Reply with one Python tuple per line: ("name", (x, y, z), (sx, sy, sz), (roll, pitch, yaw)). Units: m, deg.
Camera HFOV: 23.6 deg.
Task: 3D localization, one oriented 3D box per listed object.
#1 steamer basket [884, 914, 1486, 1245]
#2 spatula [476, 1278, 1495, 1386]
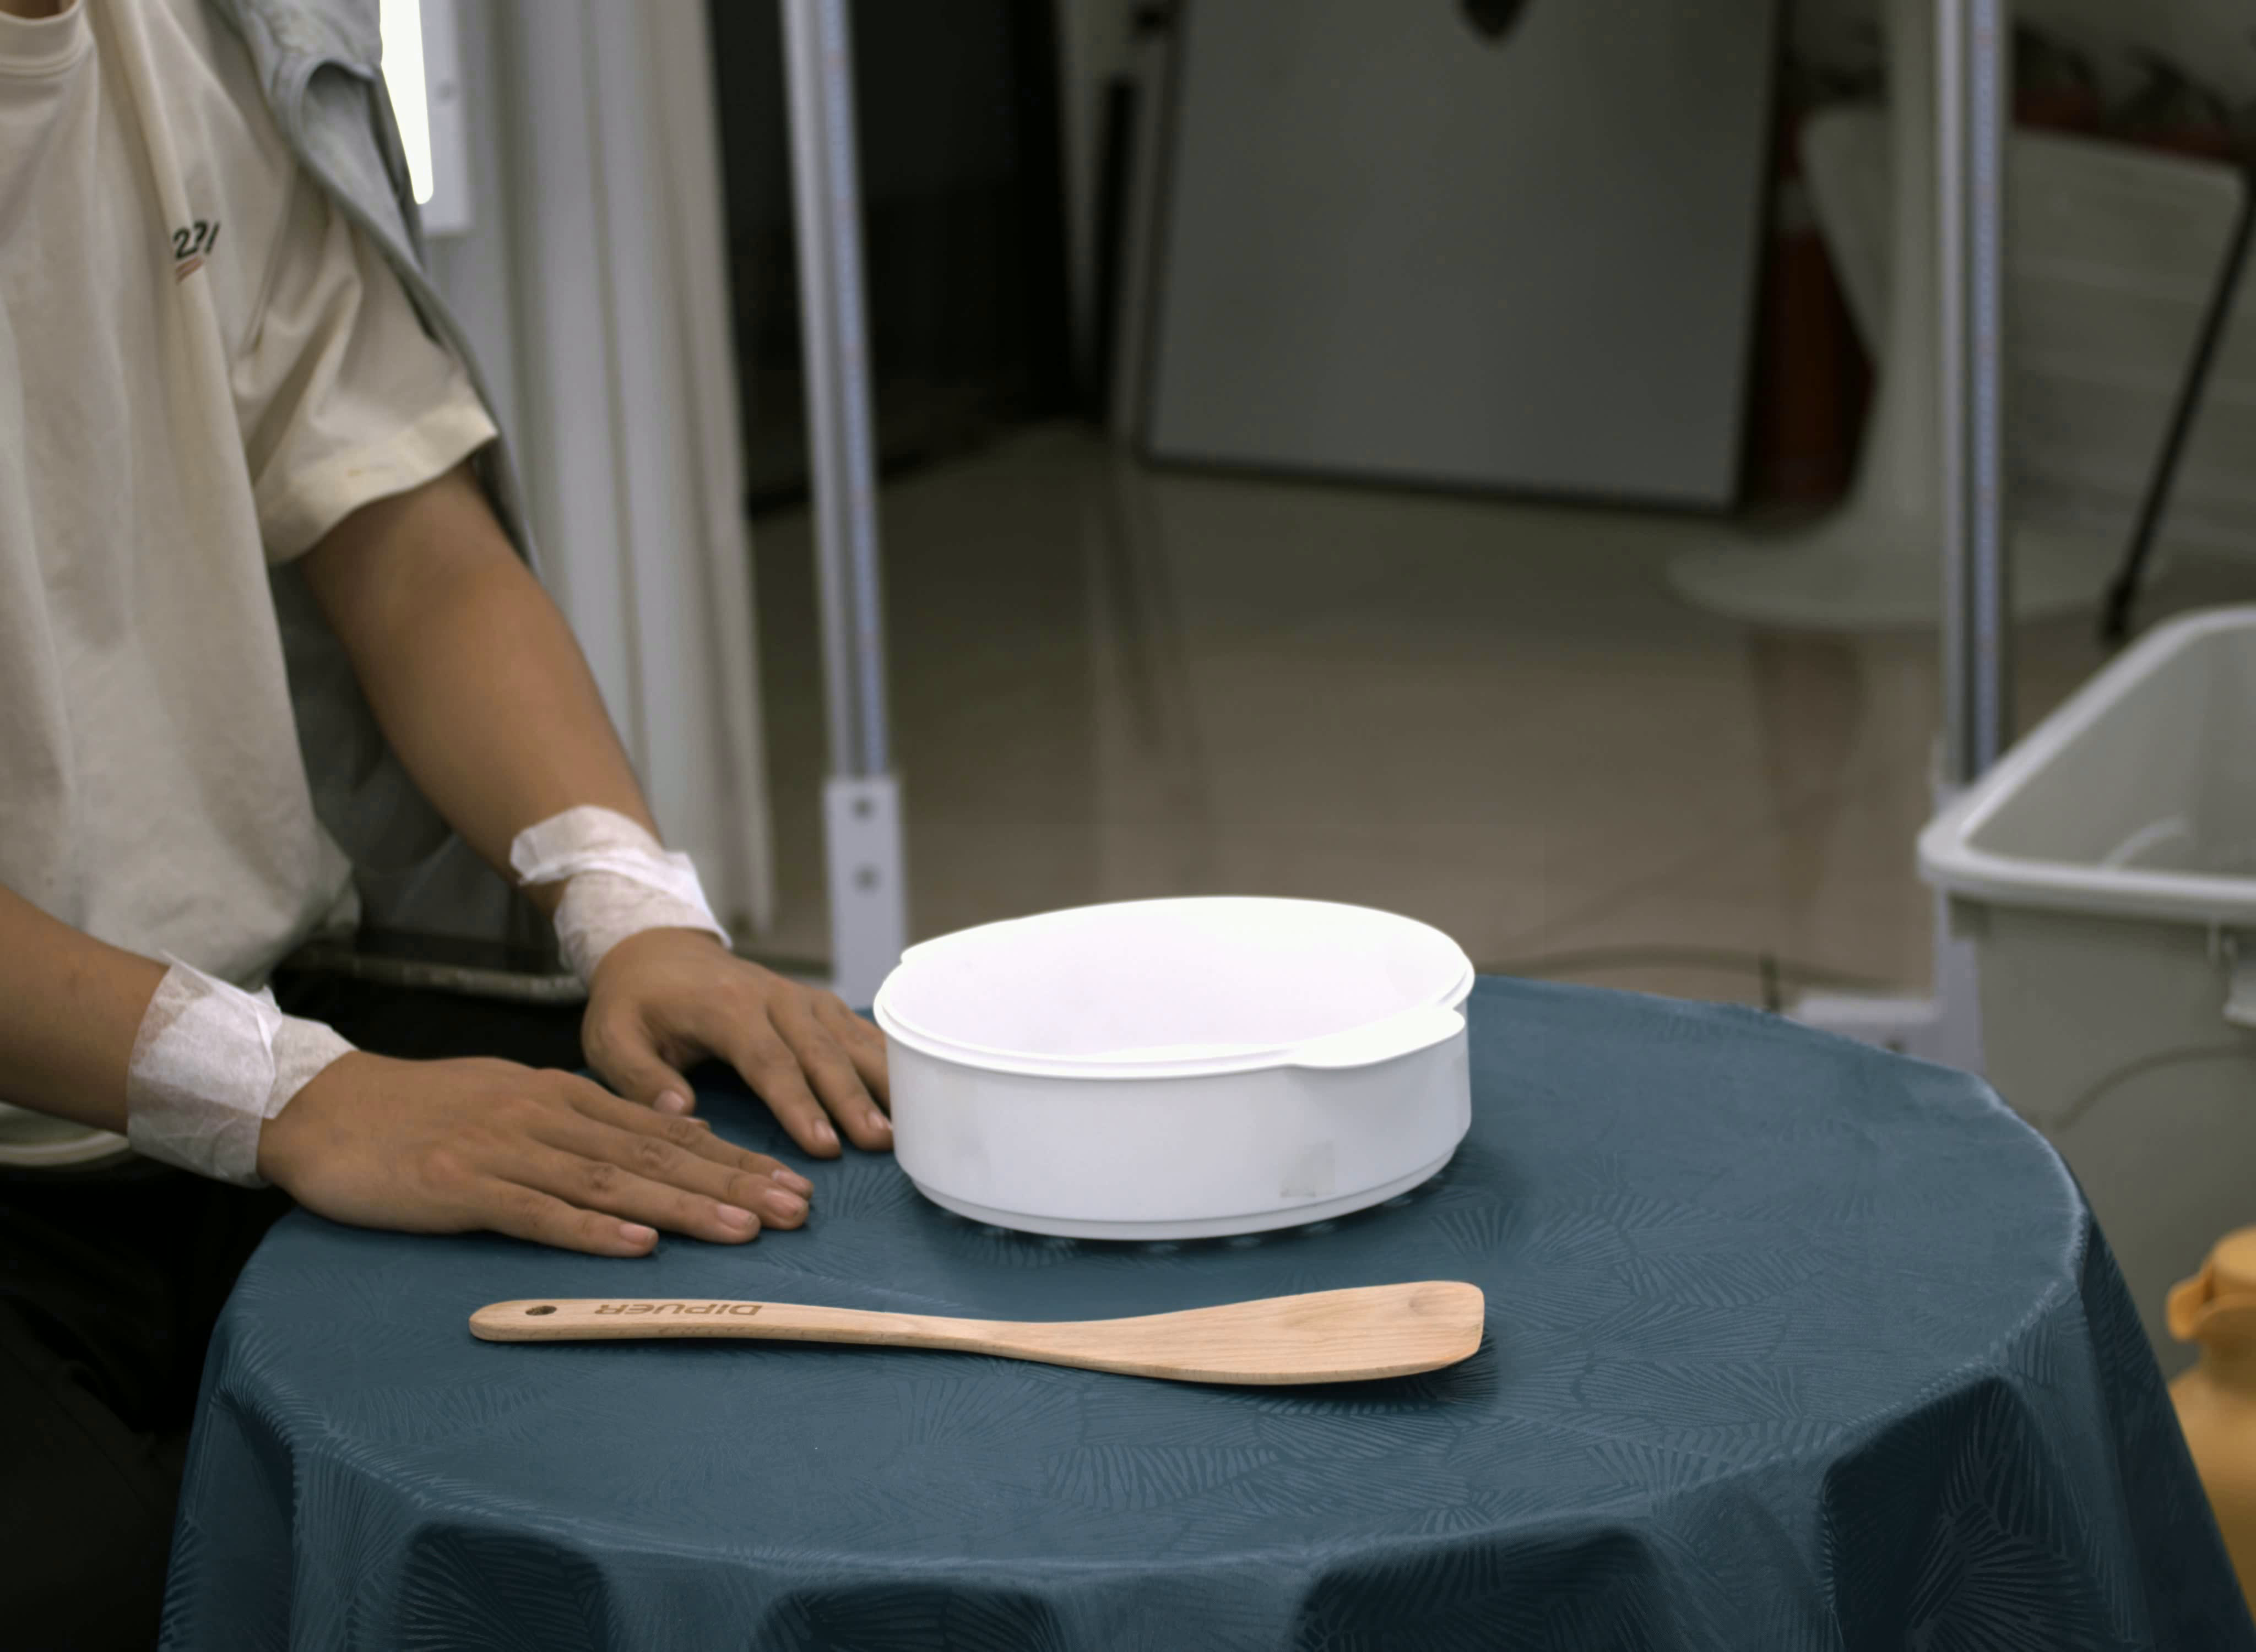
("steamer basket", (0.020, 0.084, 1.785), (0.197, 0.070, 0.233), (-13, 16, -39))
("spatula", (-0.044, 0.151, 1.631), (0.326, 0.017, 0.079), (0, 13, 16))
